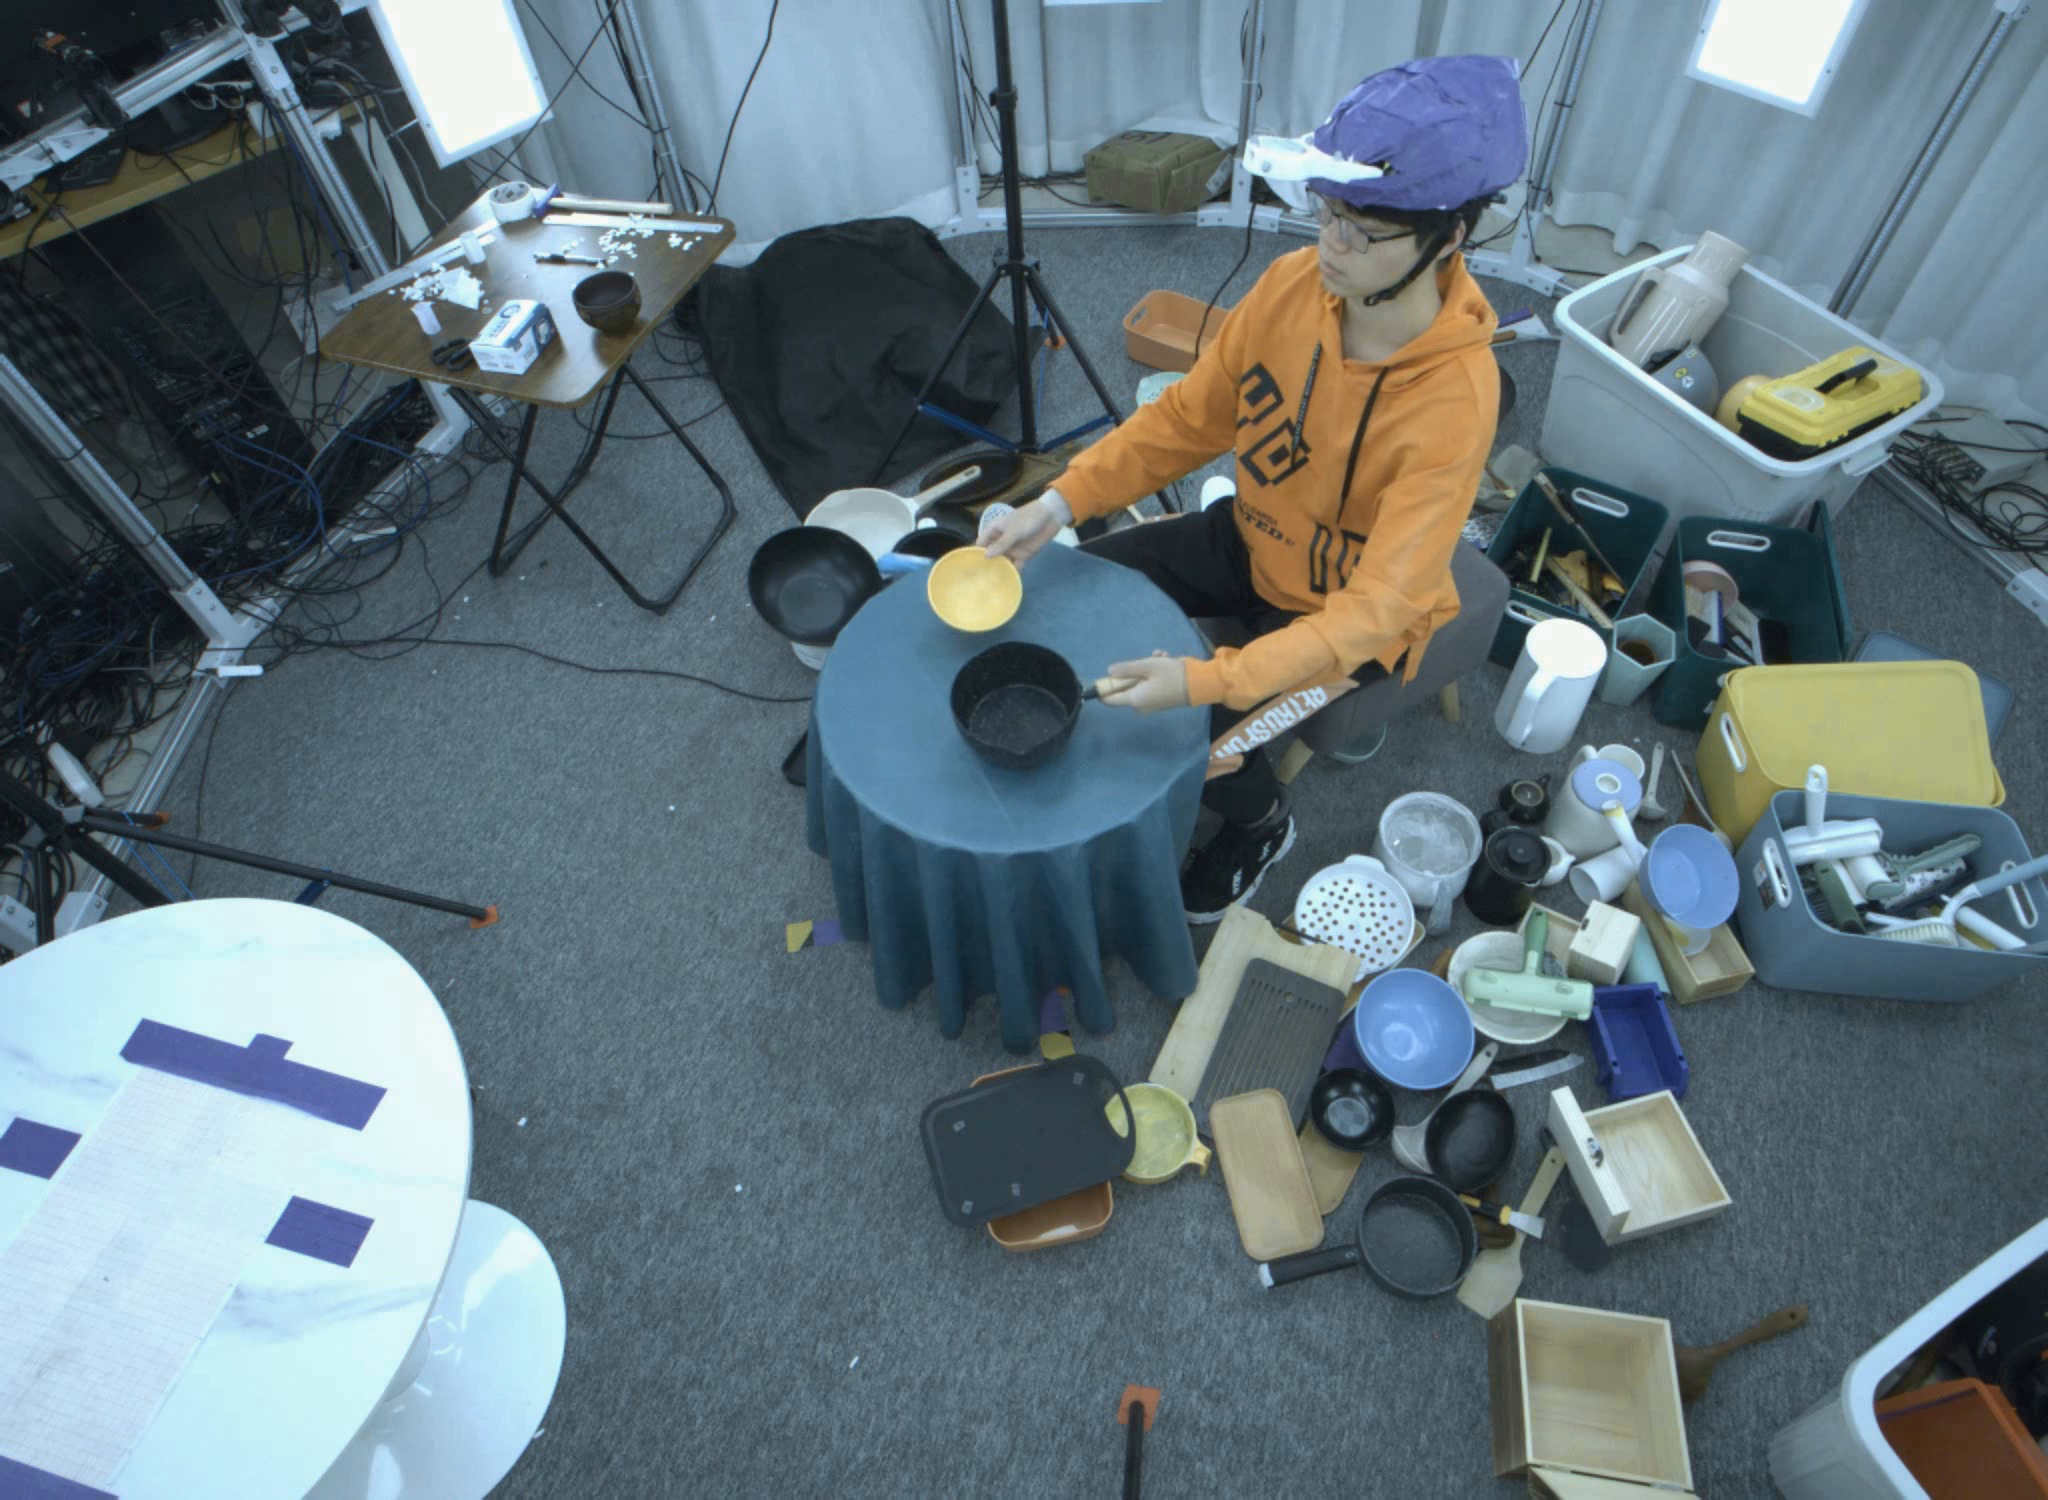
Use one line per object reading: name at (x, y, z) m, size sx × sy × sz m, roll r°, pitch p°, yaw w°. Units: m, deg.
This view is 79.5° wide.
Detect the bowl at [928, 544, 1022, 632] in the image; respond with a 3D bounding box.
bowl at (-0.078, -0.239, 1.881) m, size 0.146 × 0.060 × 0.144 m, roll 3°, pitch 71°, yaw -9°

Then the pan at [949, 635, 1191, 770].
pan at (0.067, -0.075, 1.751) m, size 0.343 × 0.109 × 0.204 m, roll -9°, pitch 57°, yaw -1°
